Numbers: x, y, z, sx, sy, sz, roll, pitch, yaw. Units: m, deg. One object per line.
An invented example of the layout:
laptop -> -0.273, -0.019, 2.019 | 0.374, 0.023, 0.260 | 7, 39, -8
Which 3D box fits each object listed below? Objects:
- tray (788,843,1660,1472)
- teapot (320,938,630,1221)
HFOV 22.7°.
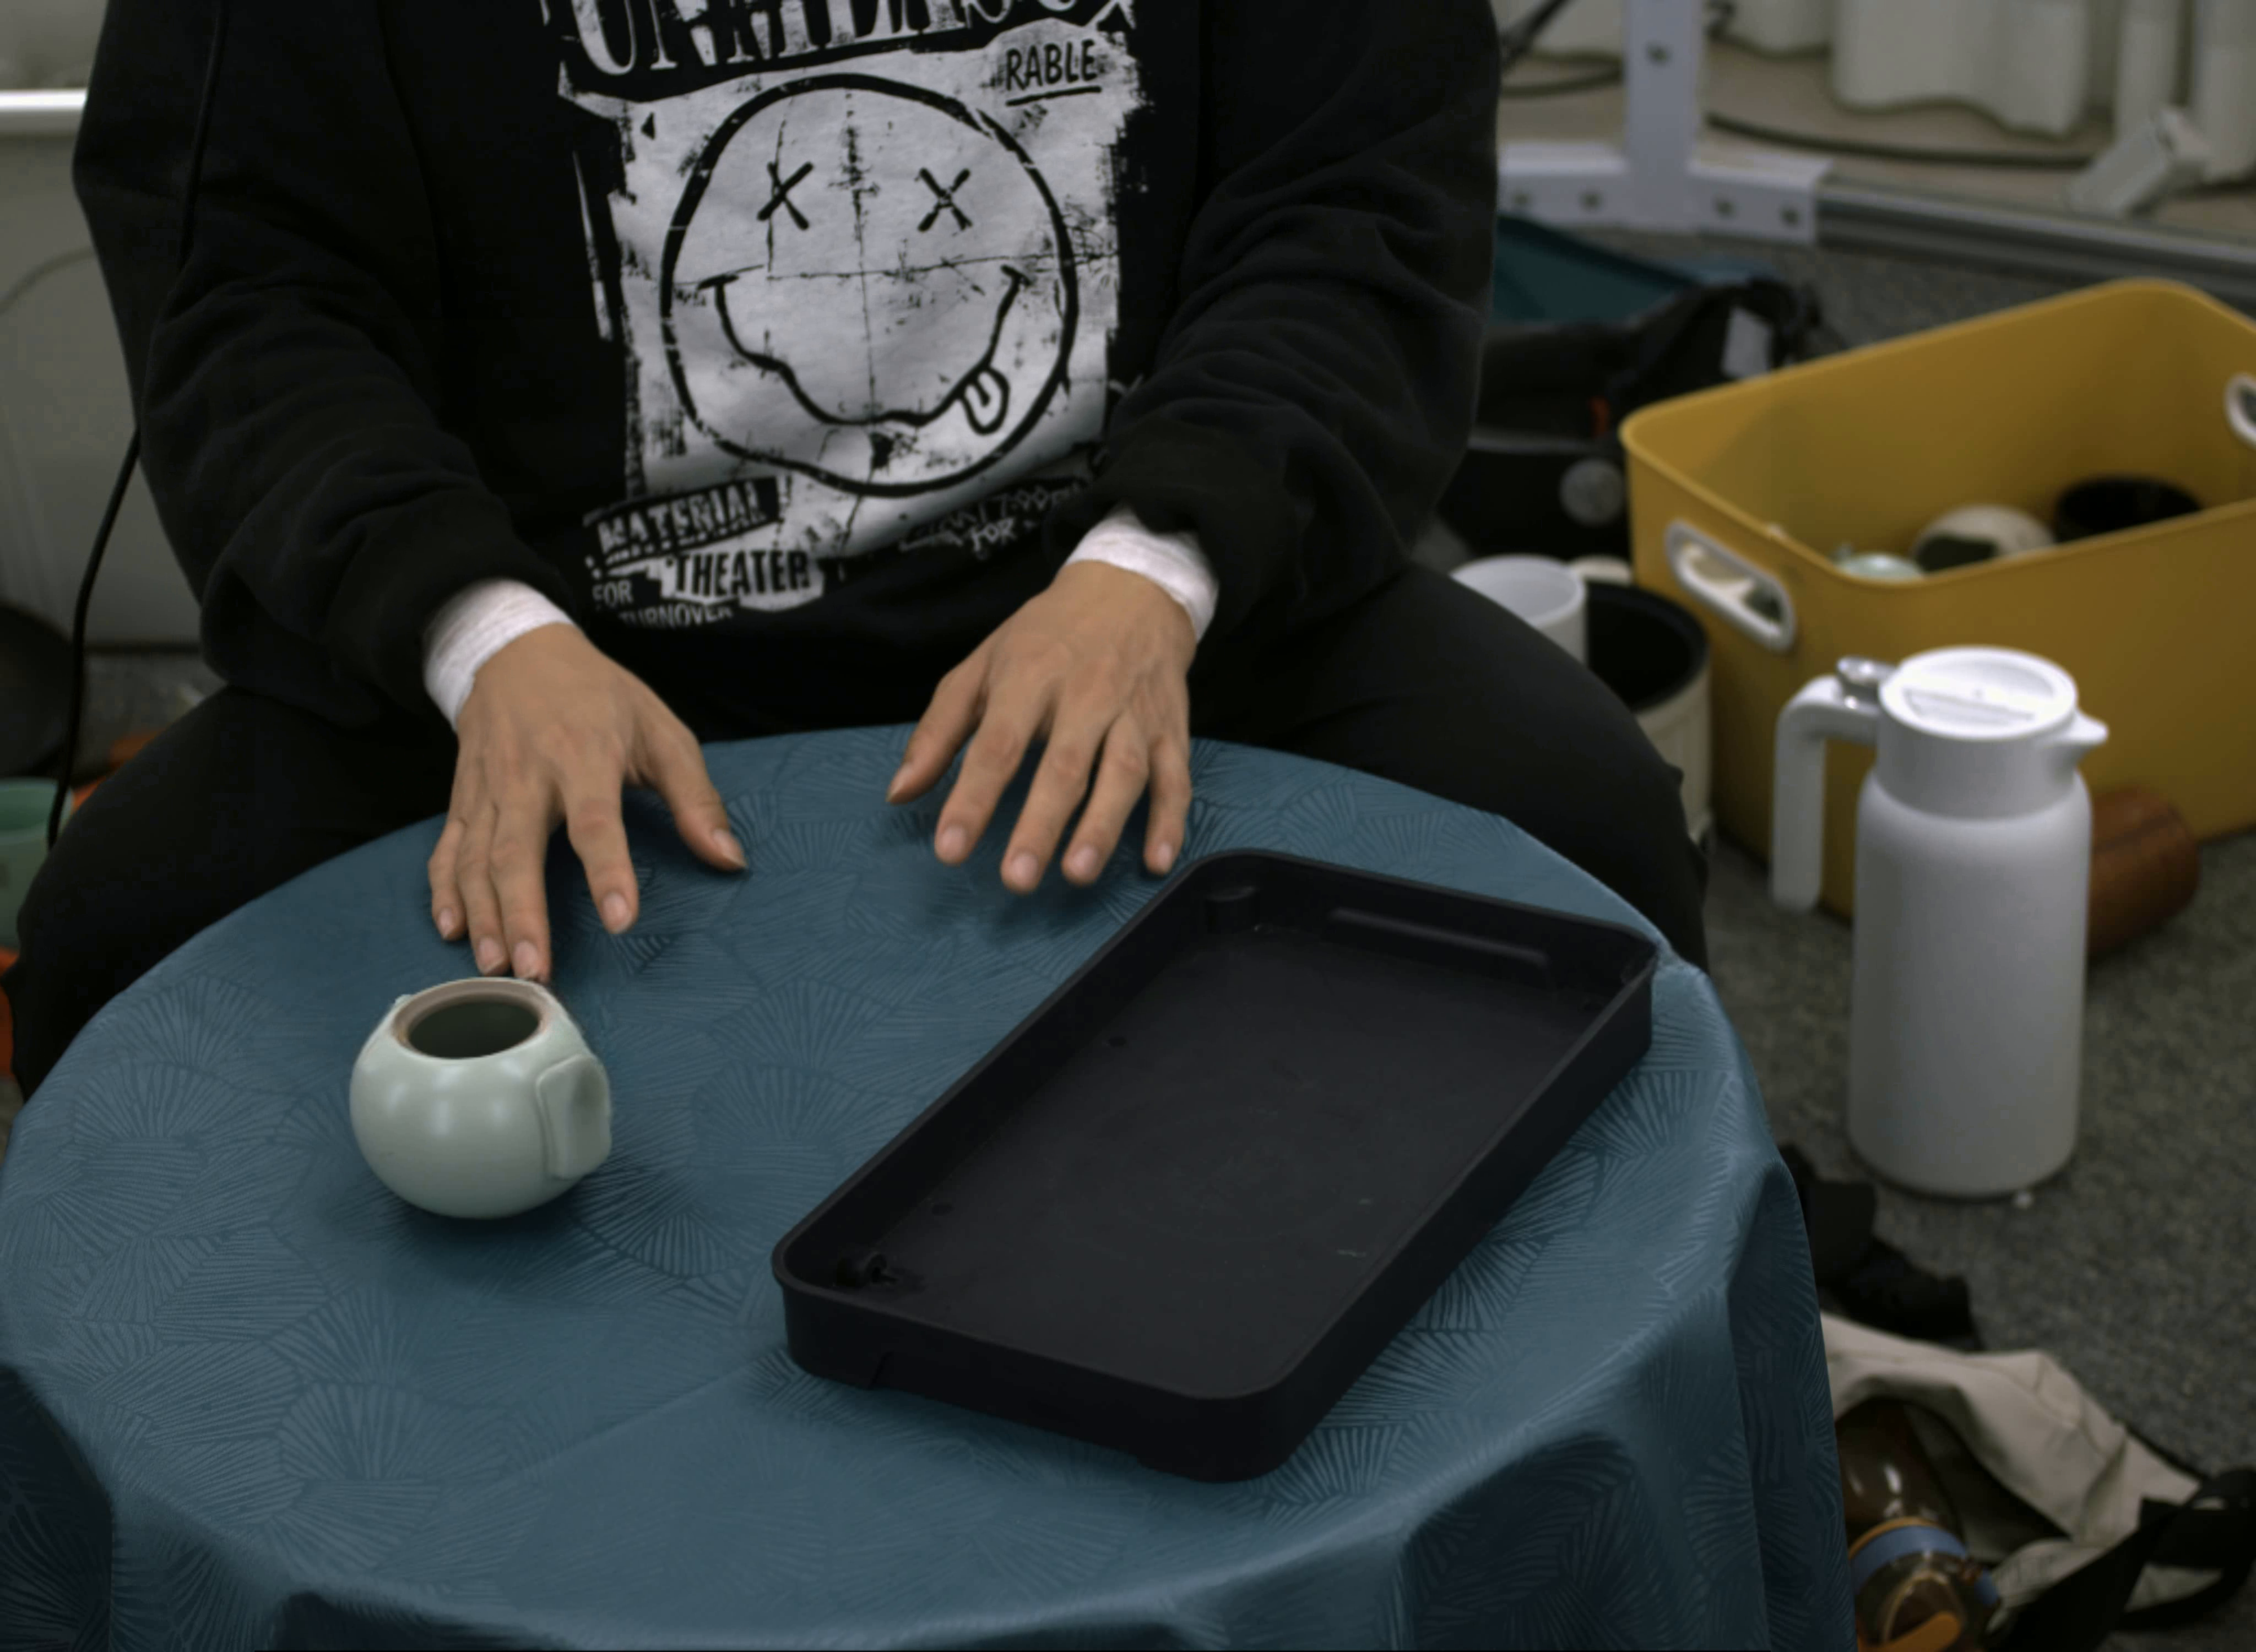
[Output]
tray -> 0.038, 0.102, 1.855 | 0.183, 0.036, 0.323 | 10, 30, 25
teapot -> -0.215, 0.090, 1.864 | 0.143, 0.074, 0.089 | 22, 36, 37
